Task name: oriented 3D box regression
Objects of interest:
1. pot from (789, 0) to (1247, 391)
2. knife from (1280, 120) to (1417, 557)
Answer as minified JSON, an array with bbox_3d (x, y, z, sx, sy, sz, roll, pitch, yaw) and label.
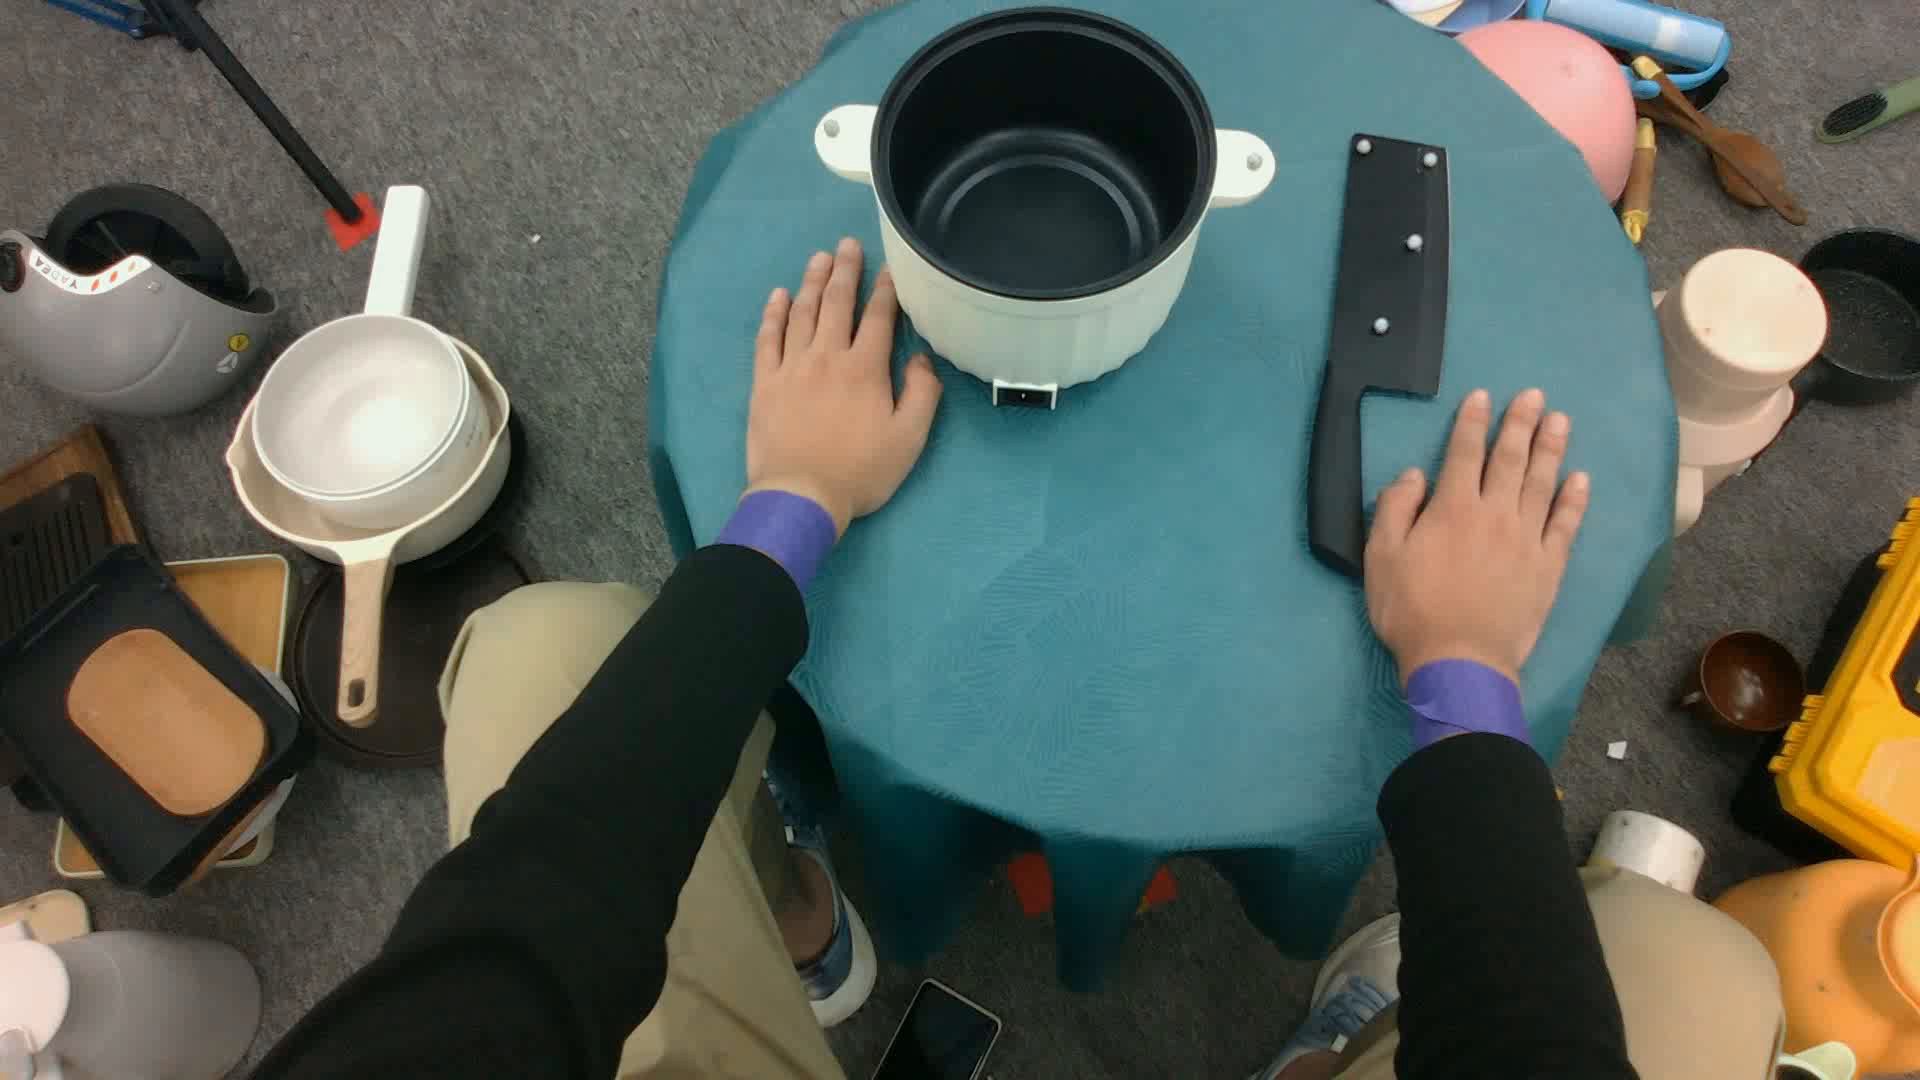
[{"bbox_3d":[0.030,-0.196,0.782,0.240,0.142,0.191,4,73,0],"label":"pot"},{"bbox_3d":[0.234,-0.129,0.824,0.081,0.021,0.303,15,68,4],"label":"knife"}]
